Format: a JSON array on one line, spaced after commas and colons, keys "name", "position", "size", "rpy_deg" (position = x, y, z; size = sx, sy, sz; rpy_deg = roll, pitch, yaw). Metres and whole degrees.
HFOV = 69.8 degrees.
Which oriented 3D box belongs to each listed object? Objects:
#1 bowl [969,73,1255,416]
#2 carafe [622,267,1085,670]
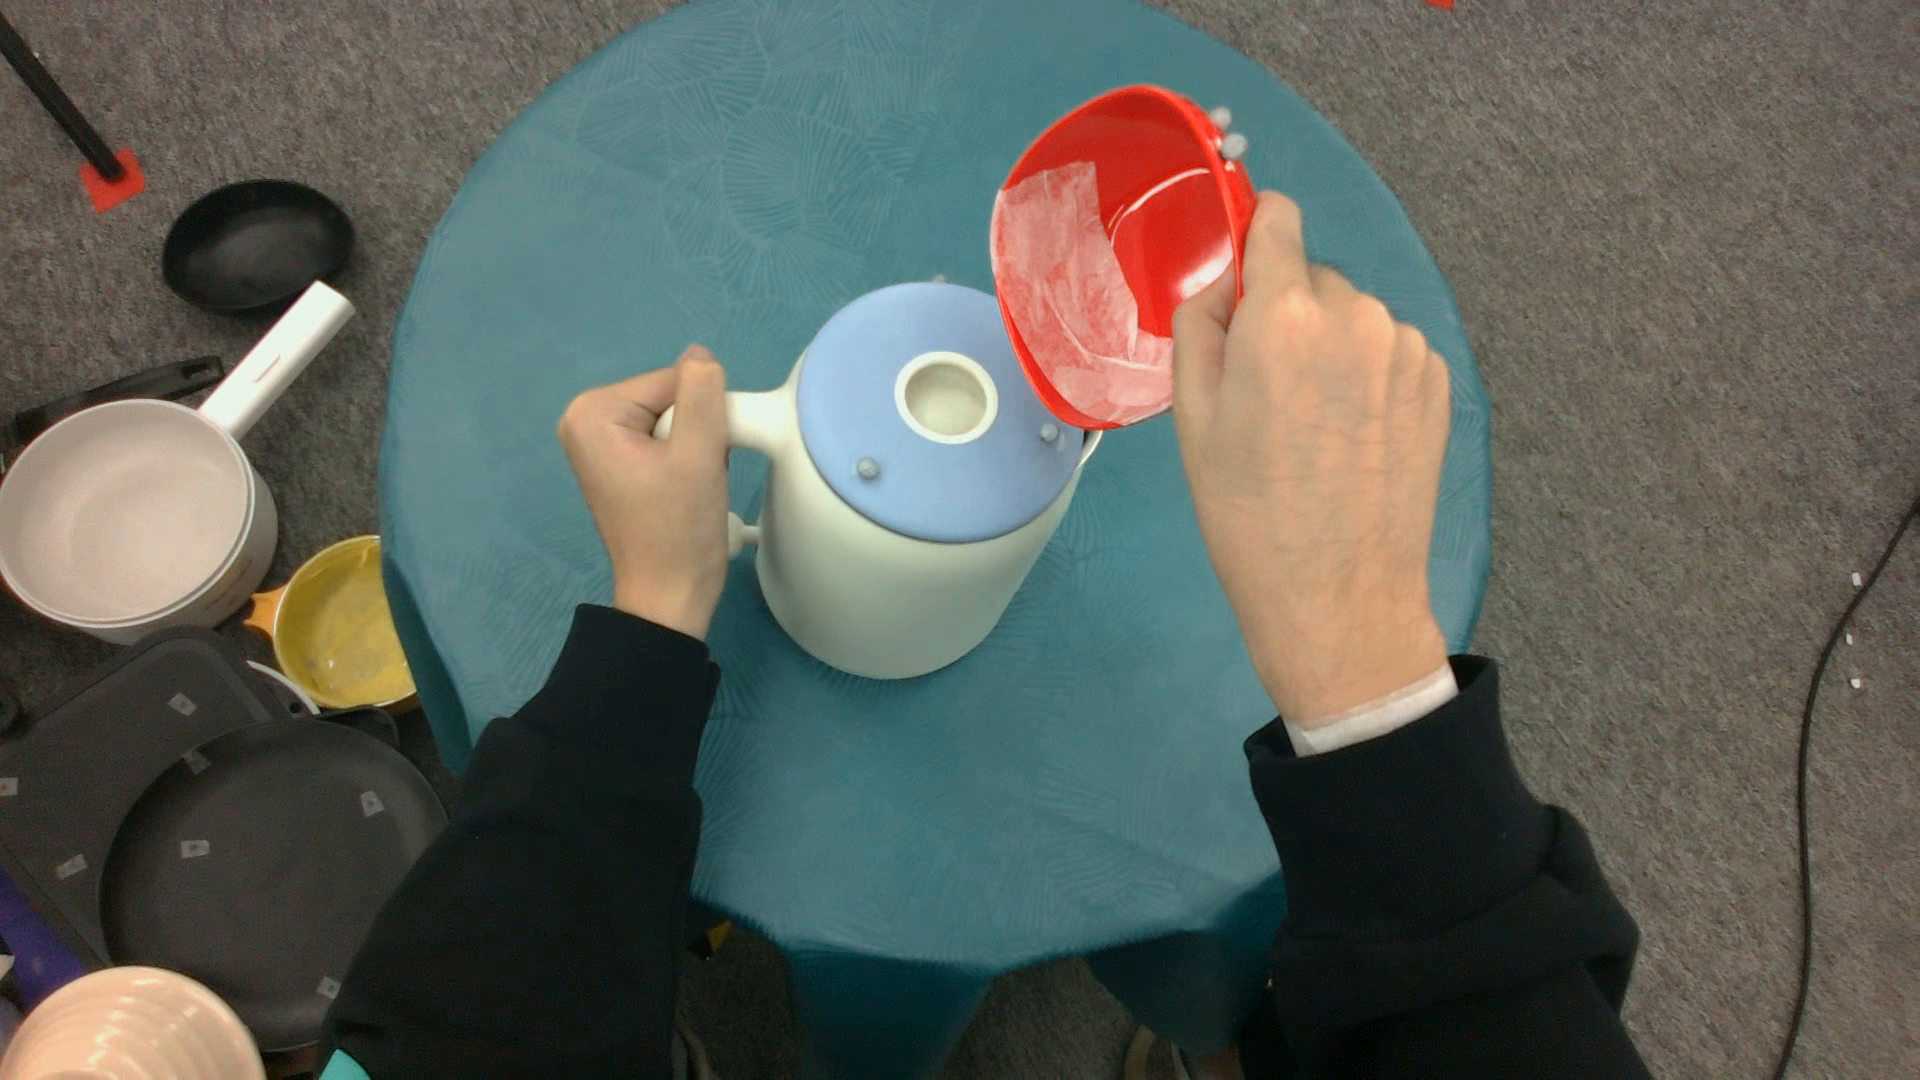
[{"name": "bowl", "position": [0.061, -0.103, 0.491], "size": [0.051, 0.118, 0.119], "rpy_deg": [-11, 68, -42]}, {"name": "carafe", "position": [-0.055, -0.027, 0.621], "size": [0.191, 0.181, 0.132], "rpy_deg": [1, 65, -11]}]
